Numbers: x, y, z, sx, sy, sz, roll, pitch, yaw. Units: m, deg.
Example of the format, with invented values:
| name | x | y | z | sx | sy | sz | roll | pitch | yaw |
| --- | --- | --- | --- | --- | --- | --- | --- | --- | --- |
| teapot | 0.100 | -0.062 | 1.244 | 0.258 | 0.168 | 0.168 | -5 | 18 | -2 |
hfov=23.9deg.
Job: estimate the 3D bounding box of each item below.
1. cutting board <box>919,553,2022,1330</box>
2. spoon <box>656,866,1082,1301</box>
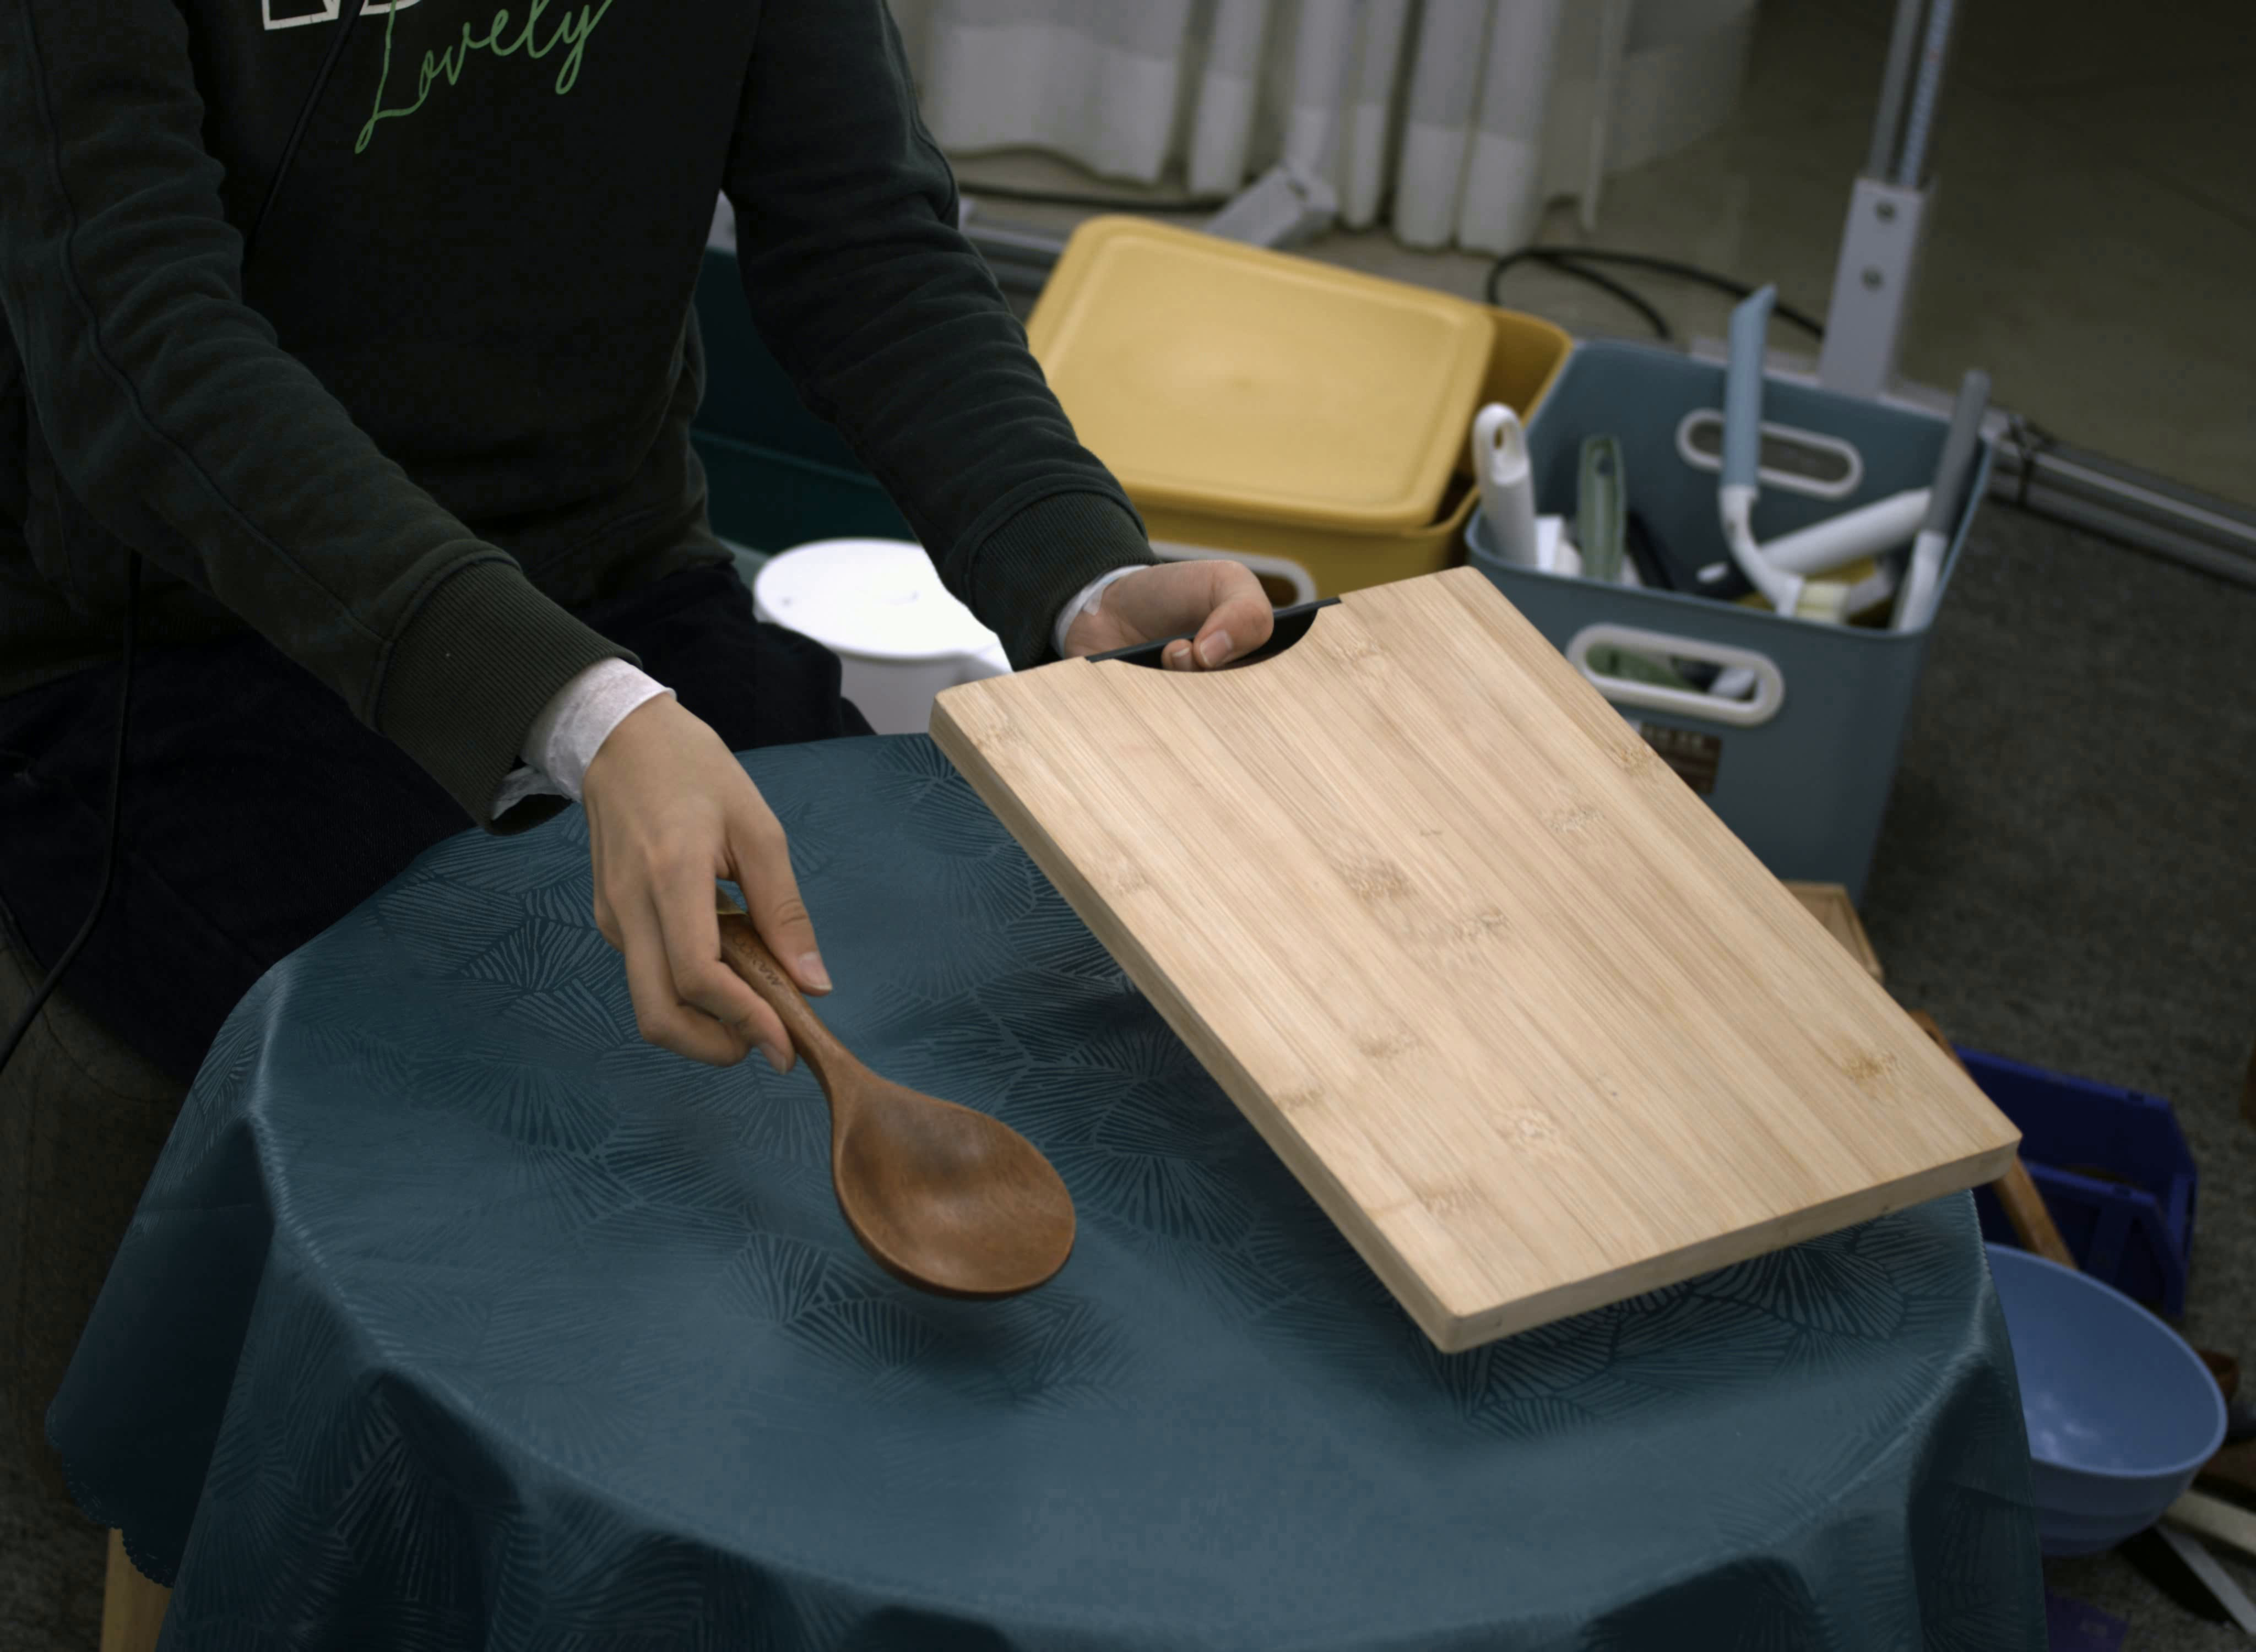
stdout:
| name | x | y | z | sx | sy | sz | roll | pitch | yaw |
| --- | --- | --- | --- | --- | --- | --- | --- | --- | --- |
| cutting board | 0.113 | 0.031 | 1.854 | 0.249 | 0.023 | 0.352 | -14 | 44 | -30 |
| spoon | -0.092 | 0.083 | 1.743 | 0.075 | 0.017 | 0.218 | -21 | 50 | -28 |
